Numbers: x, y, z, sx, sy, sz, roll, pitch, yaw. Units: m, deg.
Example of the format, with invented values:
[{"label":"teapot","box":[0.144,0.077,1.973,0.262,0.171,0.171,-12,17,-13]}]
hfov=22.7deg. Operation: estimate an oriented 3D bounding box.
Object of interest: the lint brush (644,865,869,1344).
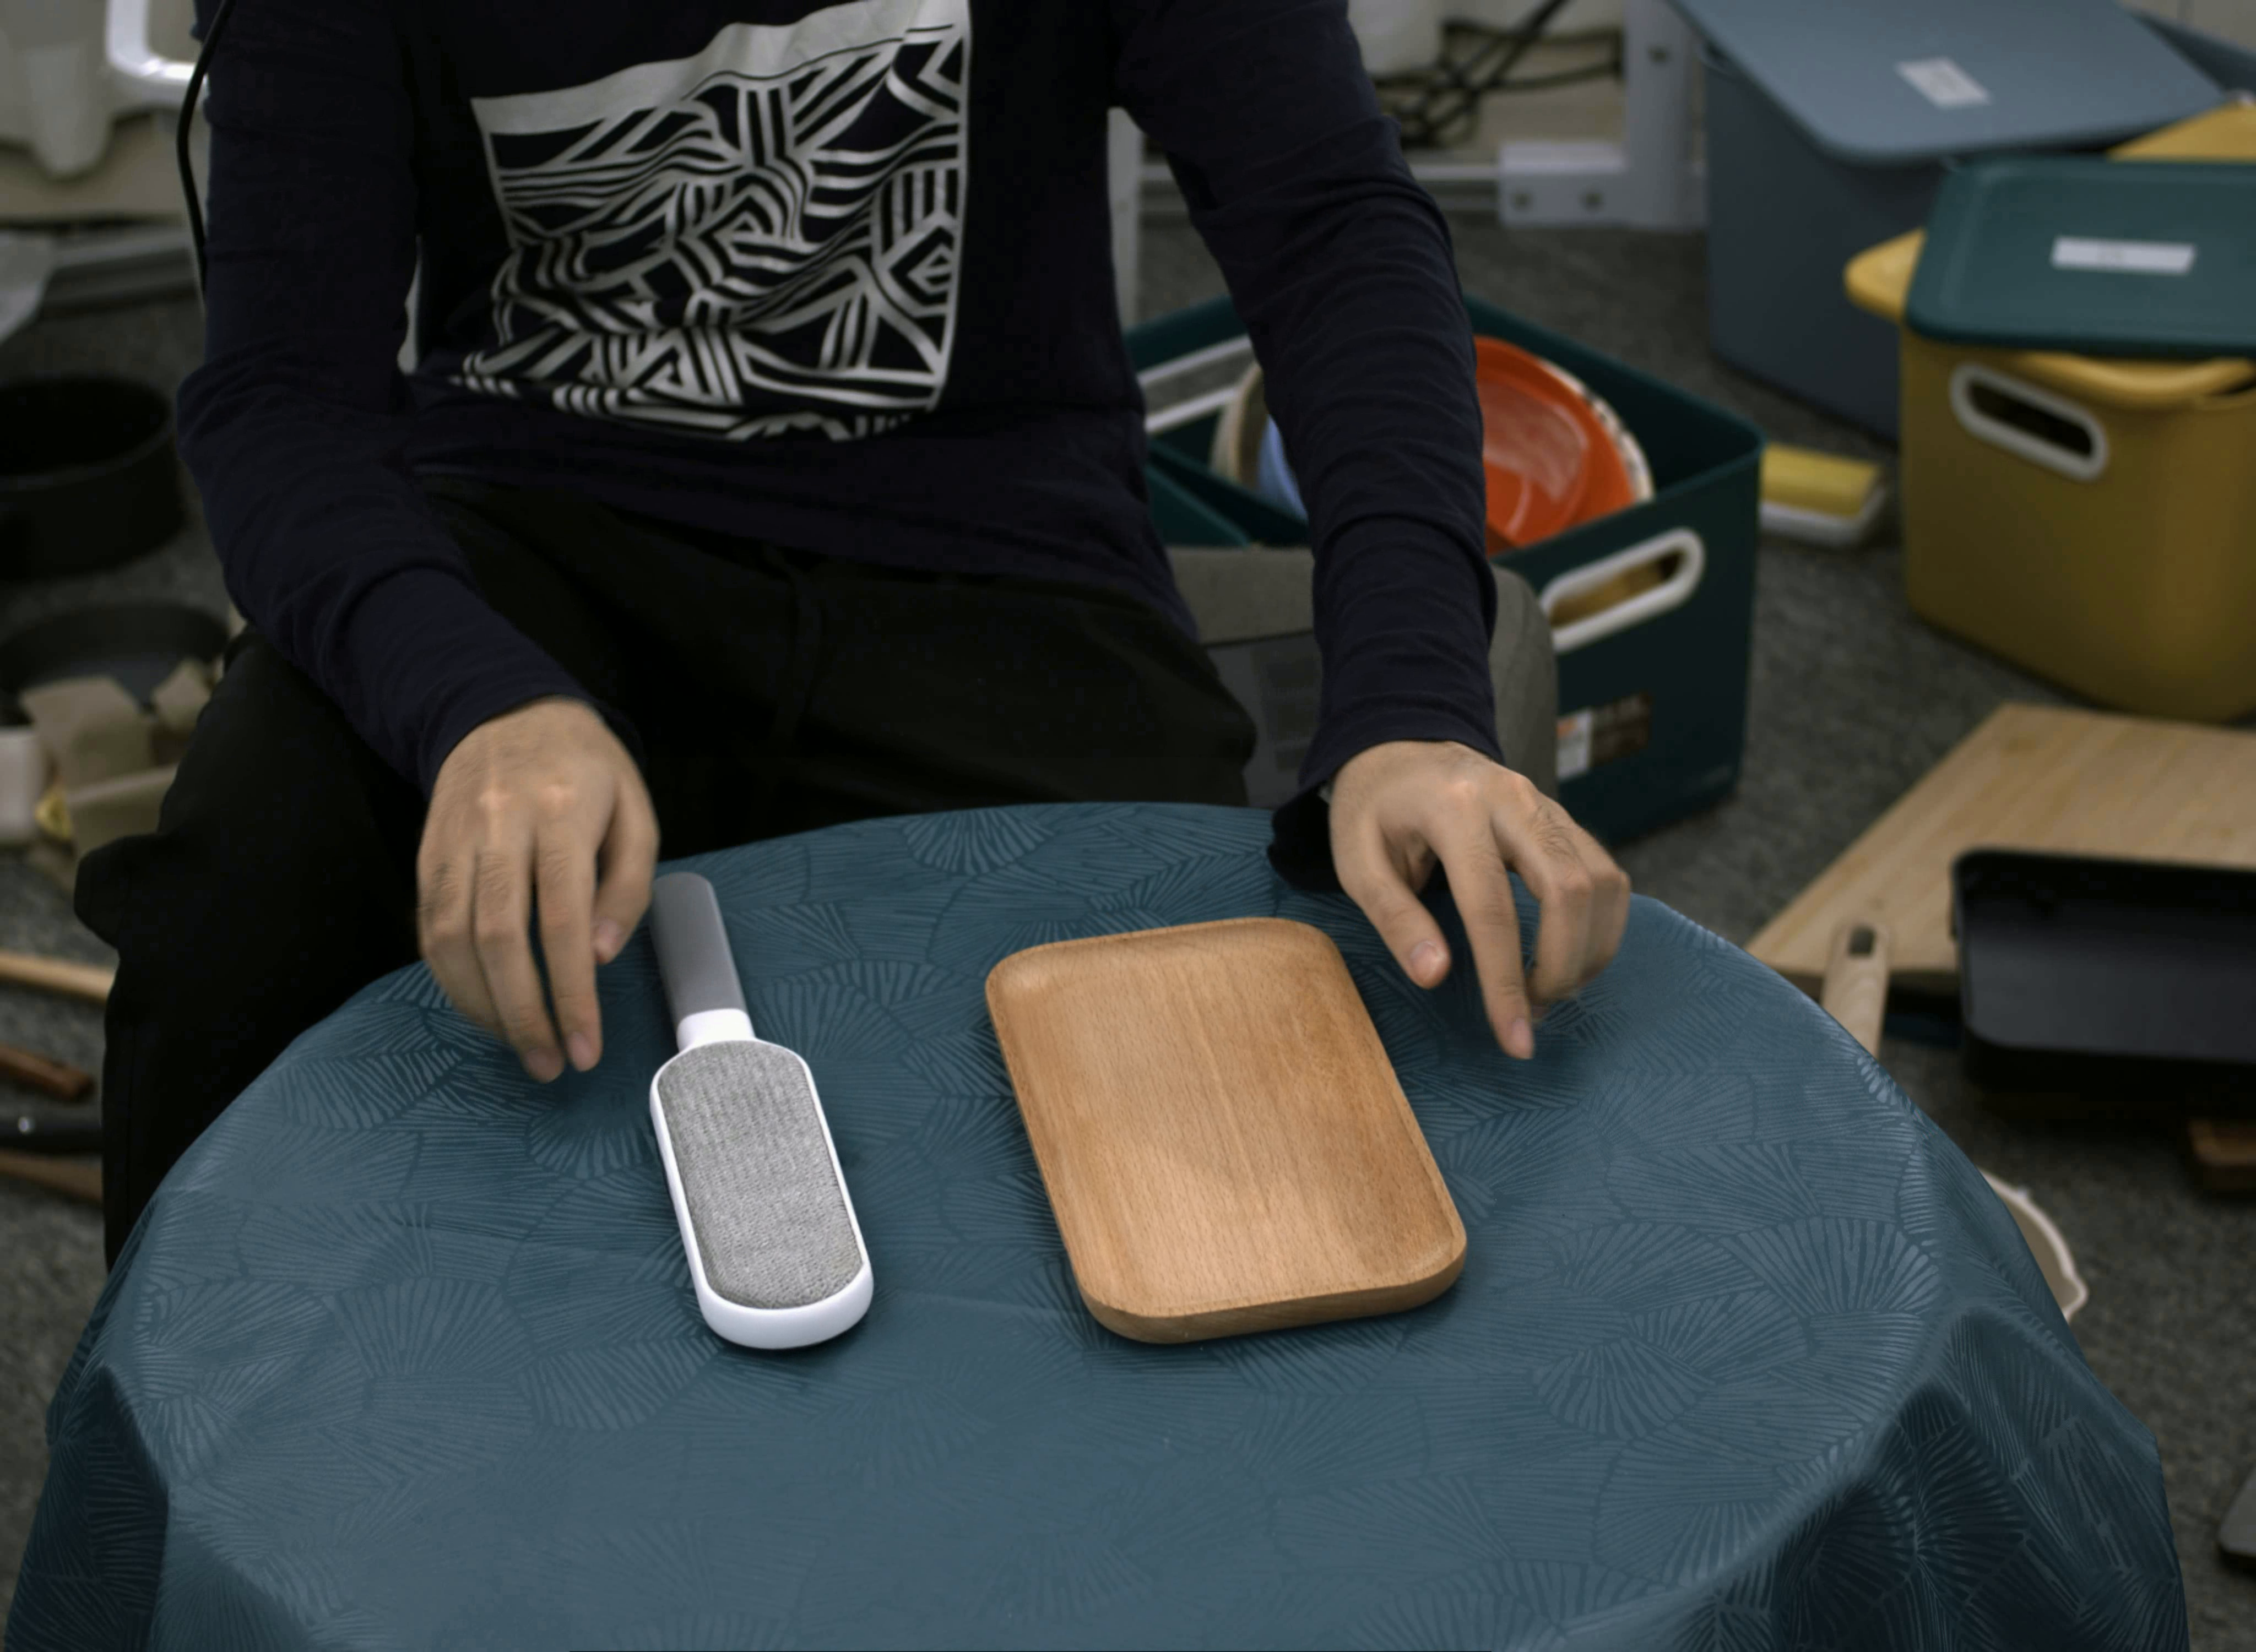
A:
[{"label":"lint brush","box":[-0.134,0.089,1.907,0.060,0.021,0.312,-12,28,-6]}]

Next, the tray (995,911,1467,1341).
[{"label":"tray","box":[0.031,0.098,1.886,0.130,0.022,0.254,-4,27,-7]}]
